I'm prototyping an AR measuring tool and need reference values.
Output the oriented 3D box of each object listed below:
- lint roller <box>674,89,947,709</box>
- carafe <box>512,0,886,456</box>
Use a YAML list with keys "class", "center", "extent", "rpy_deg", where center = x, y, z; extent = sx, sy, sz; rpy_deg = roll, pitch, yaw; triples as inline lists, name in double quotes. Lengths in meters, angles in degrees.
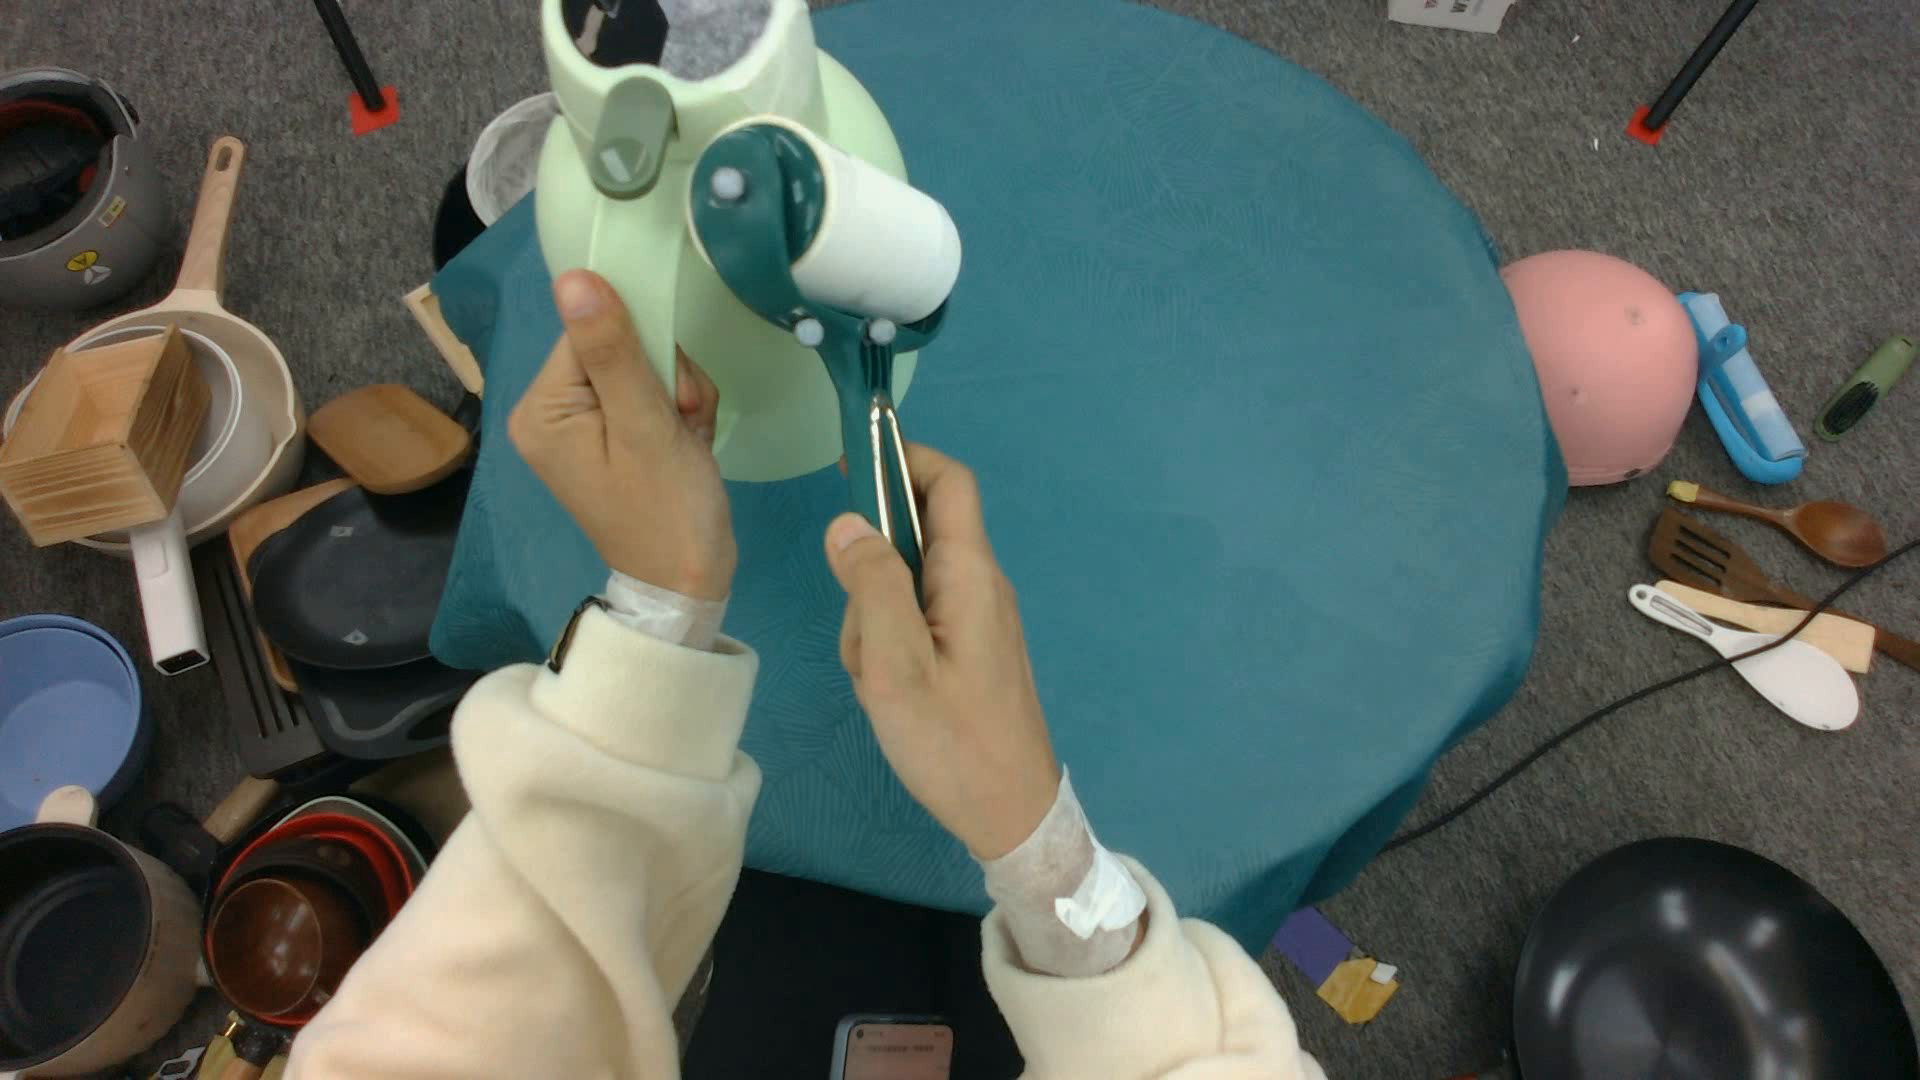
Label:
- class: "lint roller"
  center: [-0.024, -0.040, 0.427]
  extent: [0.048, 0.134, 0.180]
  rpy_deg: [-19, 86, 20]
- class: "carafe"
  center: [-0.102, -0.121, 0.529]
  extent: [0.144, 0.256, 0.187]
  rpy_deg: [9, 78, -1]
